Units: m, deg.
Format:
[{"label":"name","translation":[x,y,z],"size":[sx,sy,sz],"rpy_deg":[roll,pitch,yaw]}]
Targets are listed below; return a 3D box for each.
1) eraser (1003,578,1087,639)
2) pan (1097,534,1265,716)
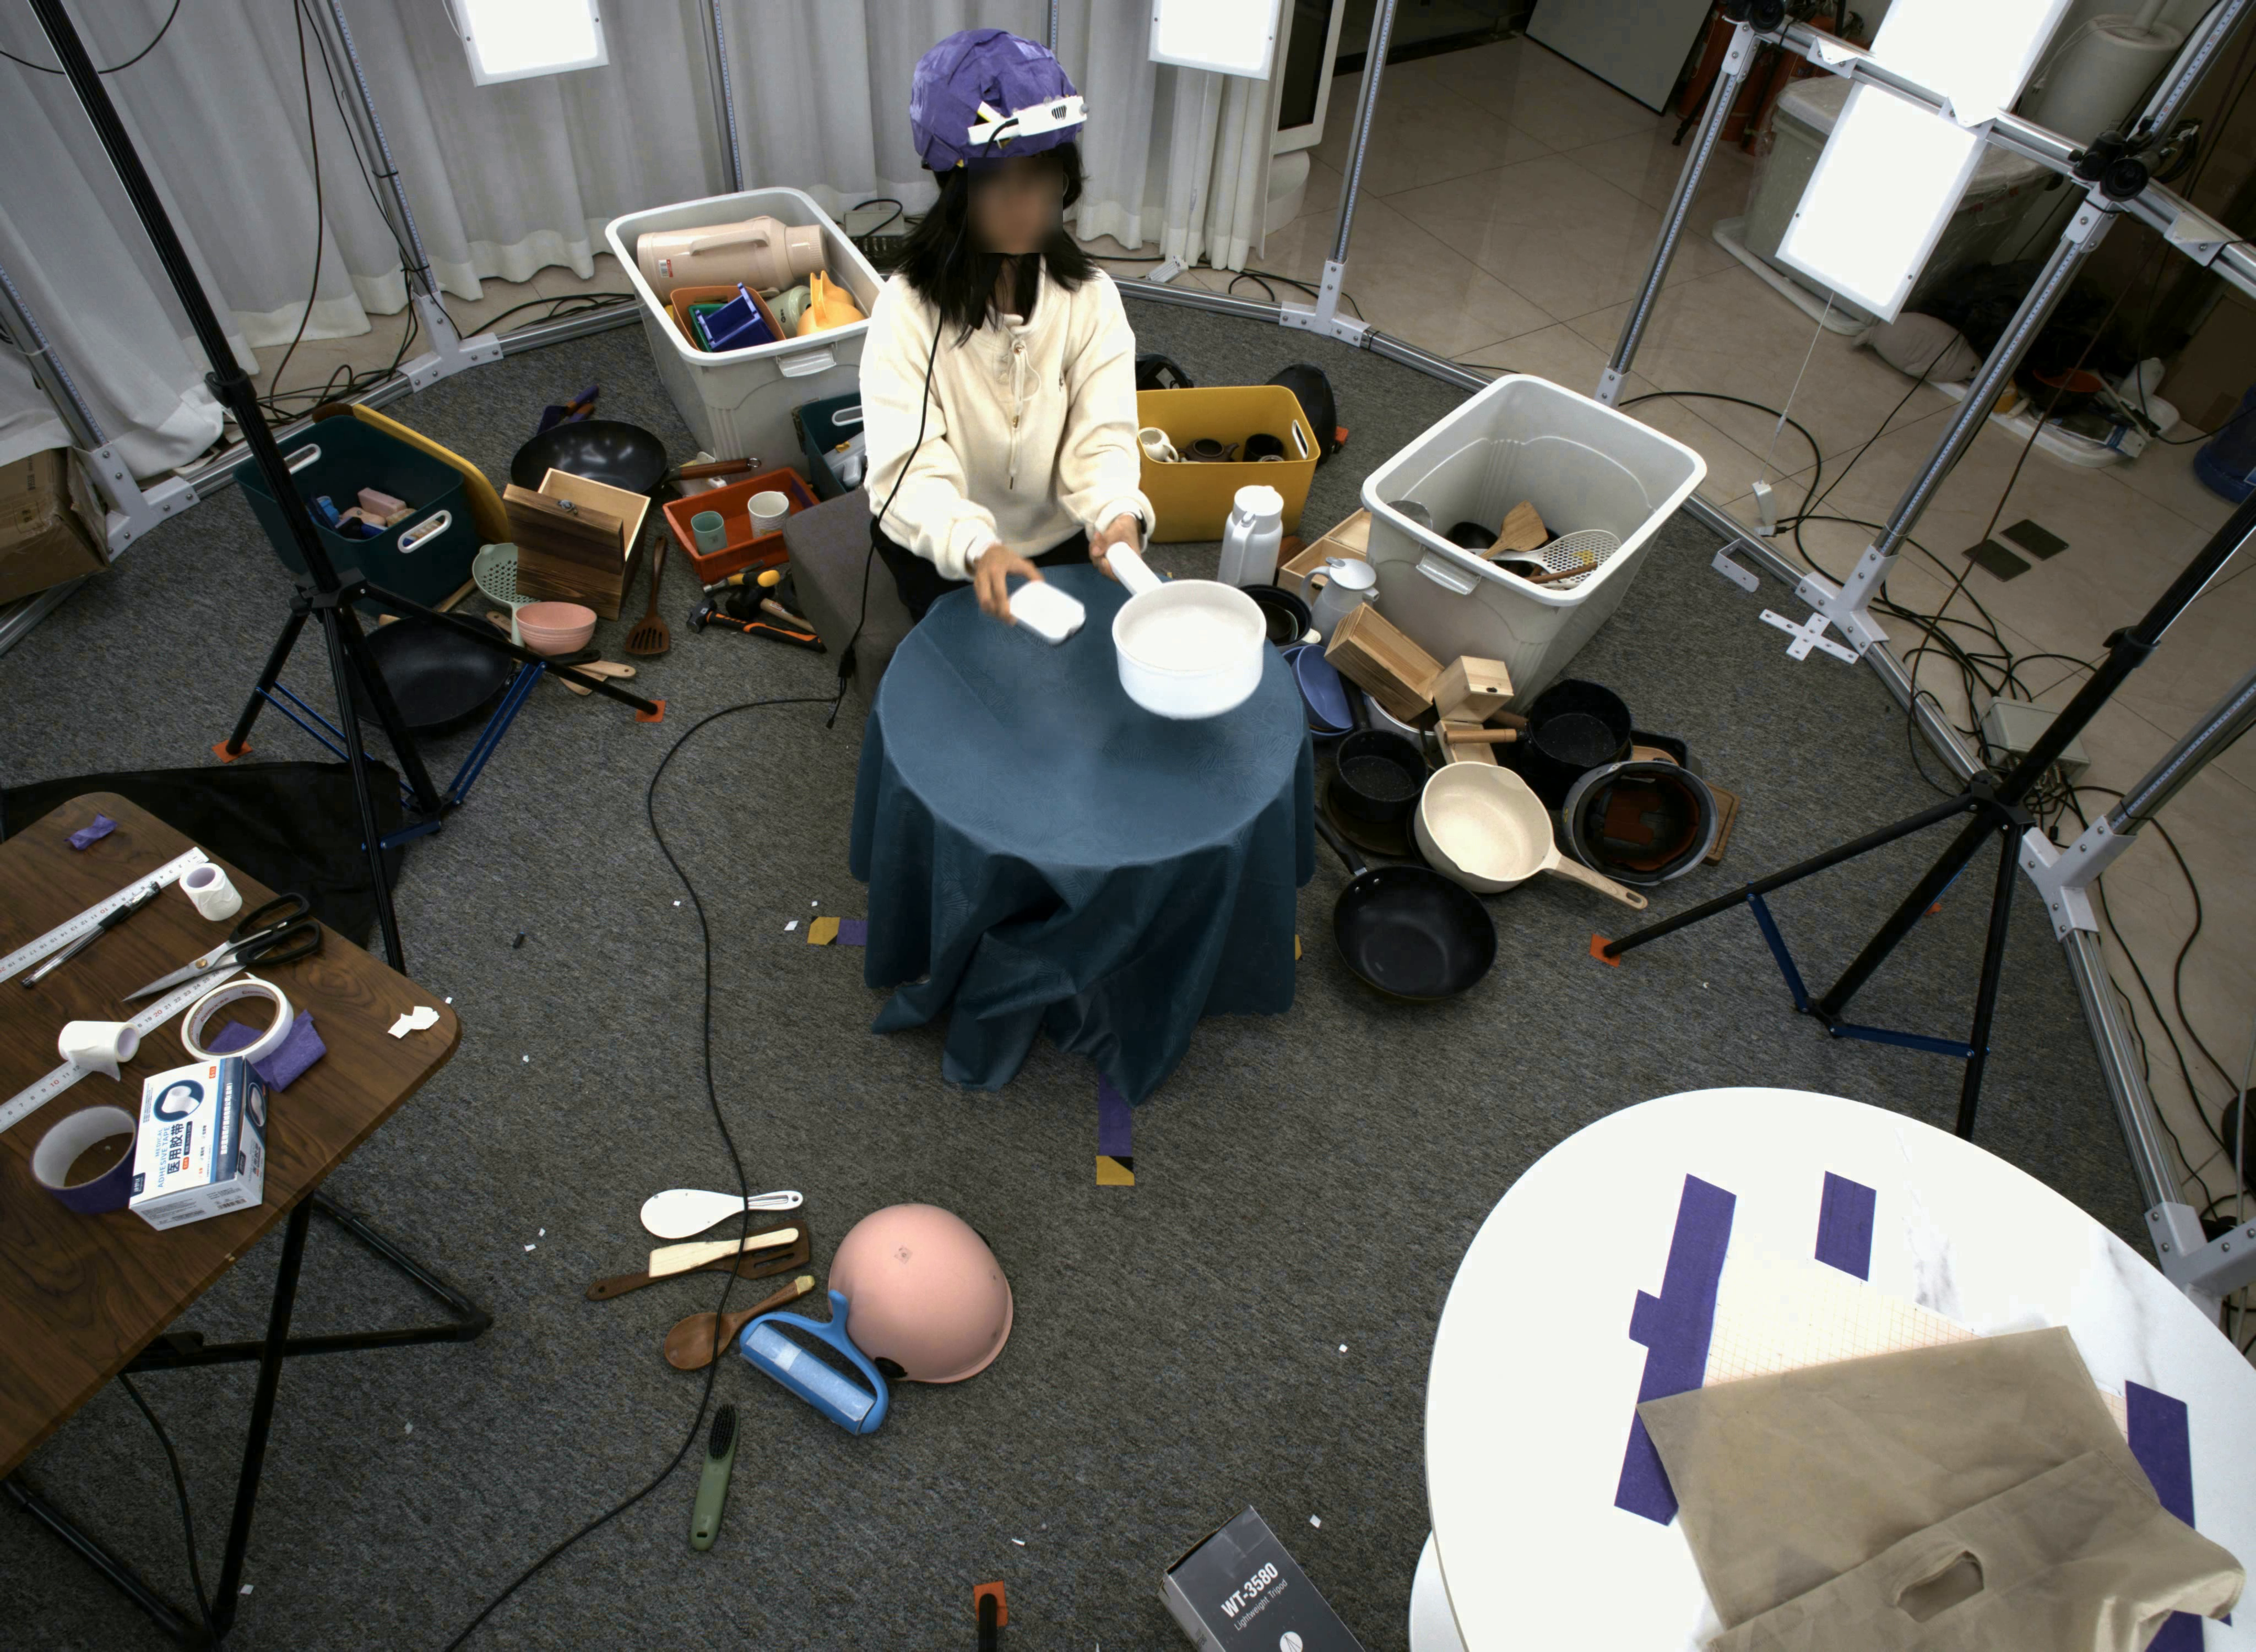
[{"label":"eraser","translation":[-0.110,-0.295,1.724],"size":[0.064,0.034,0.133],"rpy_deg":[-37,45,-20]},{"label":"pan","translation":[0.048,-0.279,1.762],"size":[0.201,0.099,0.363],"rpy_deg":[-20,43,-17]}]
